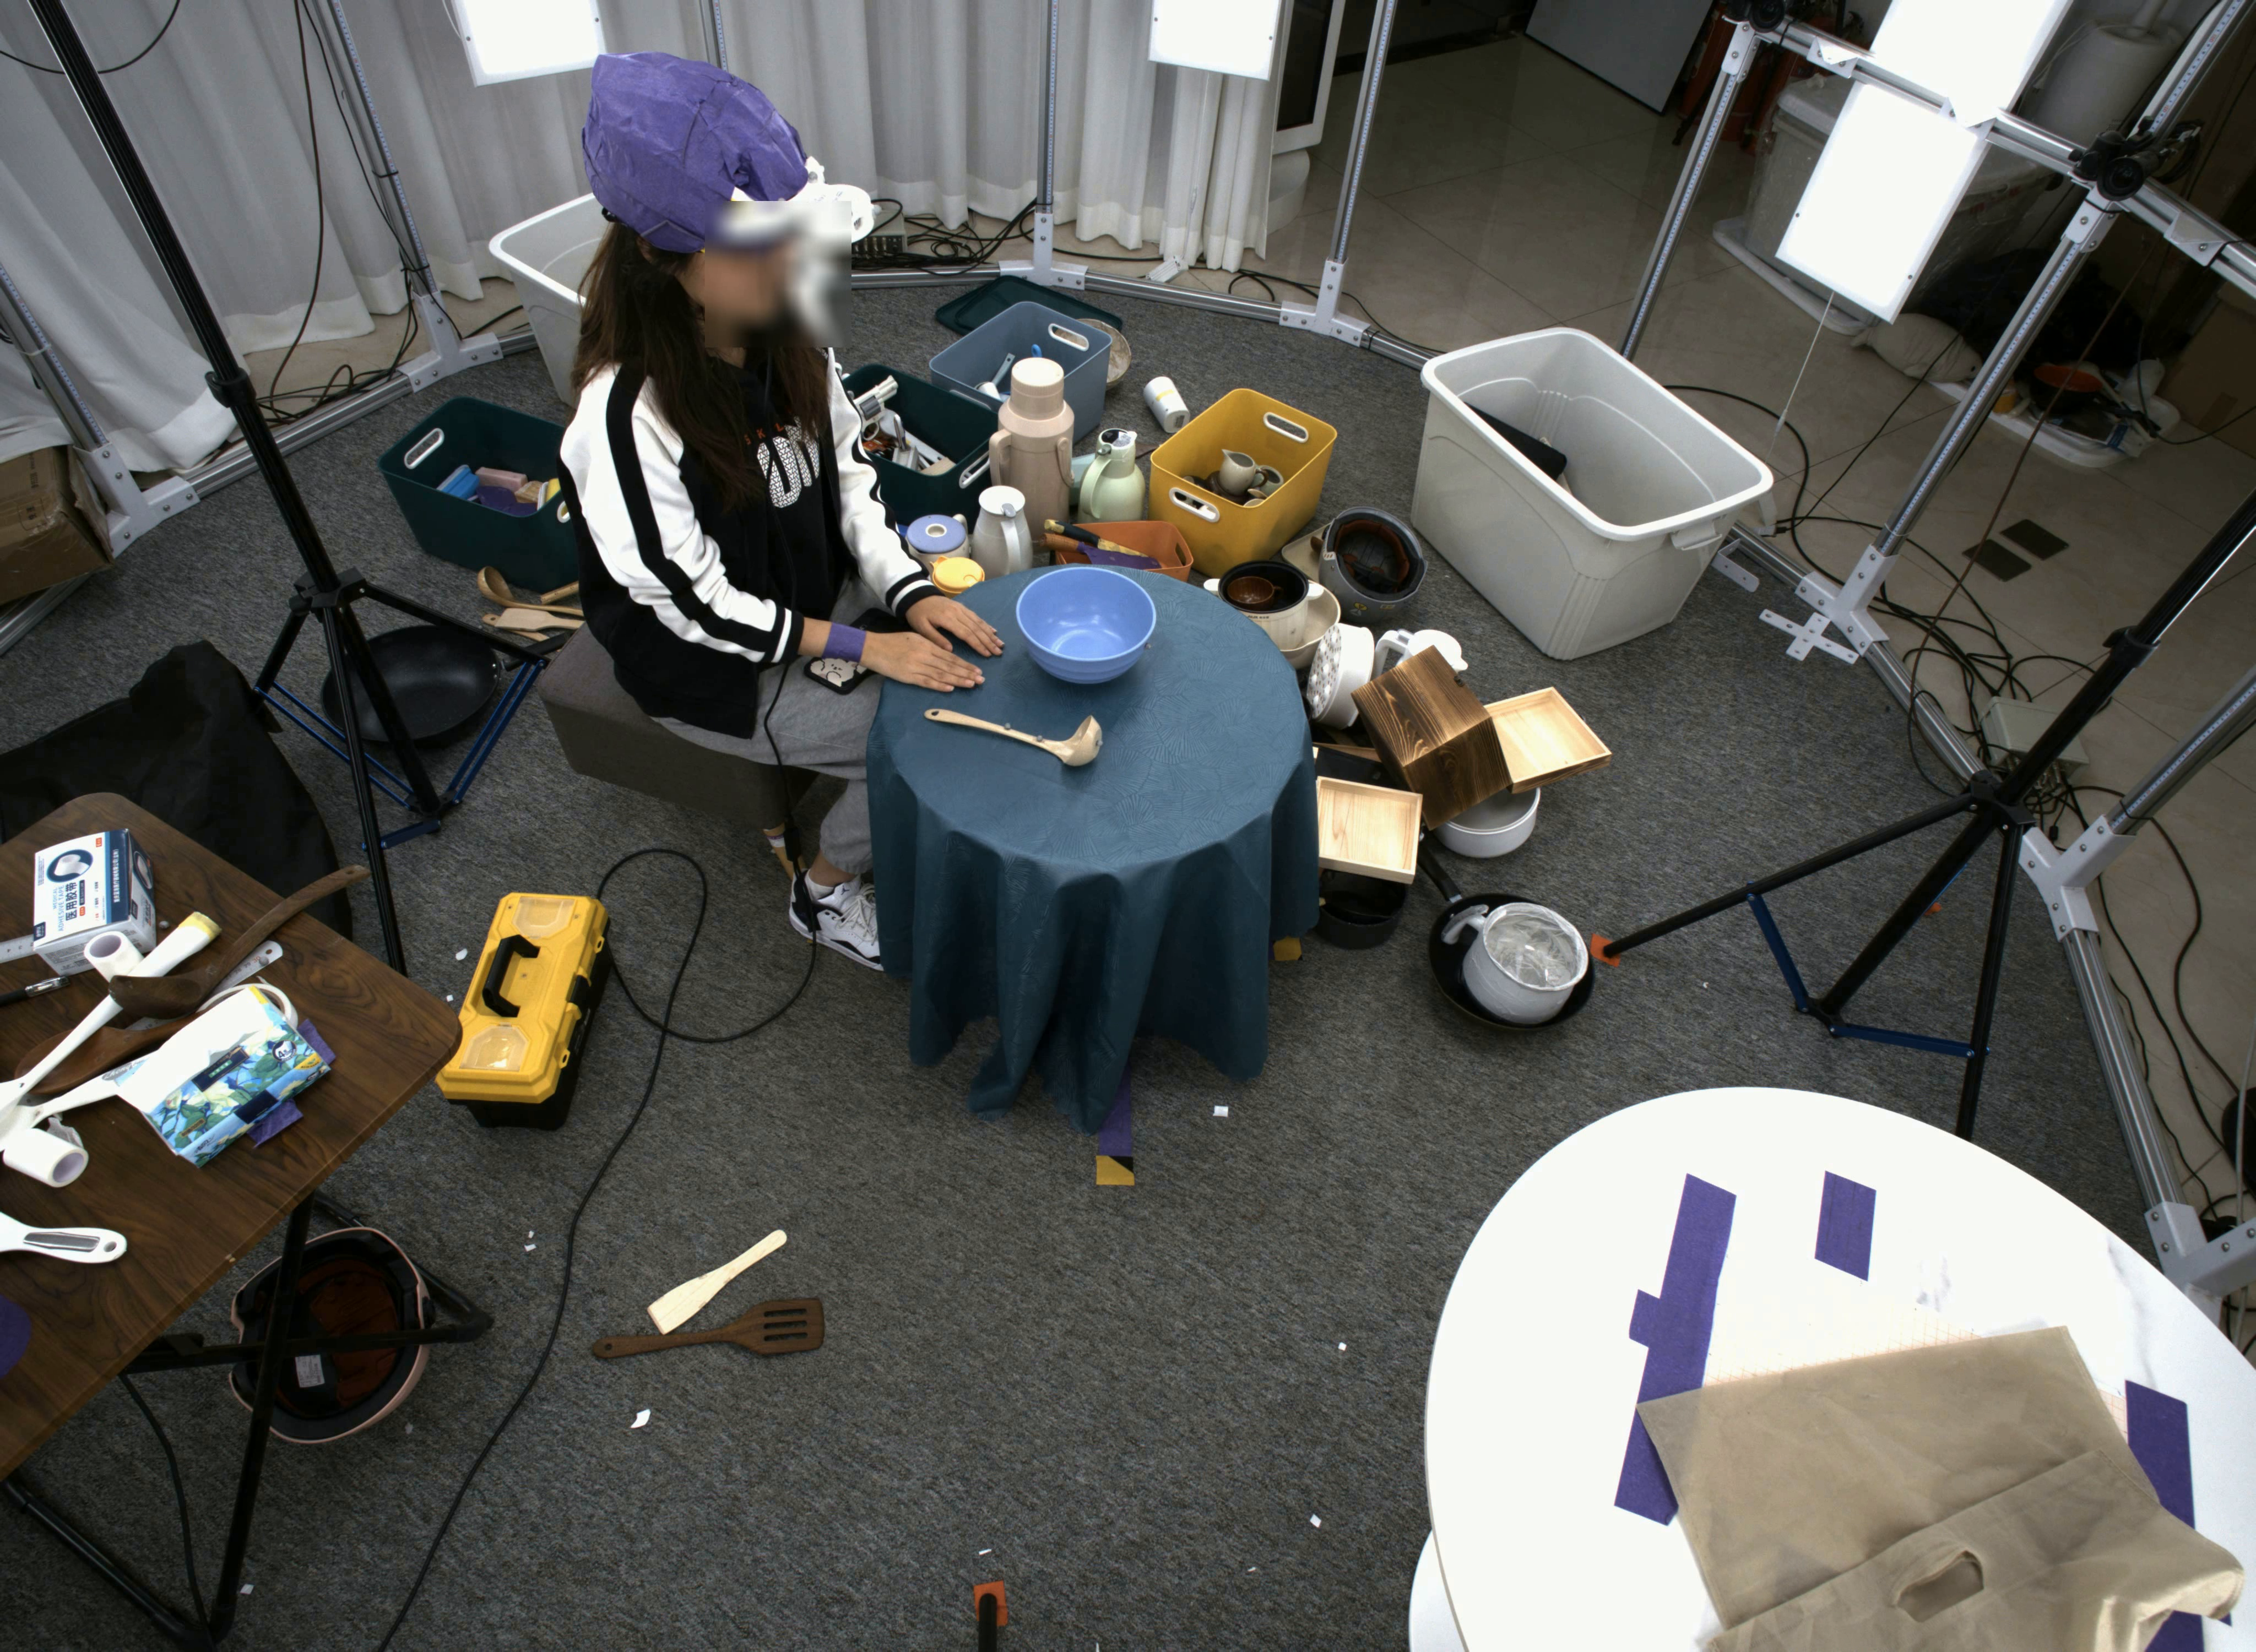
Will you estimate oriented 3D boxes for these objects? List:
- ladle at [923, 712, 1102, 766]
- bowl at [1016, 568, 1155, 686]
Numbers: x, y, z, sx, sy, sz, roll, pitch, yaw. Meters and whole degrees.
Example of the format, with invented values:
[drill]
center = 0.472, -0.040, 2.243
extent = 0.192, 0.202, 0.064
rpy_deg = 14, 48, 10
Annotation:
[ladle]
center = -0.161, -0.140, 1.734
extent = 0.255, 0.071, 0.073
rpy_deg = 14, 56, 9
[bowl]
center = -0.061, -0.269, 1.843
extent = 0.196, 0.093, 0.201
rpy_deg = 1, 50, -2
